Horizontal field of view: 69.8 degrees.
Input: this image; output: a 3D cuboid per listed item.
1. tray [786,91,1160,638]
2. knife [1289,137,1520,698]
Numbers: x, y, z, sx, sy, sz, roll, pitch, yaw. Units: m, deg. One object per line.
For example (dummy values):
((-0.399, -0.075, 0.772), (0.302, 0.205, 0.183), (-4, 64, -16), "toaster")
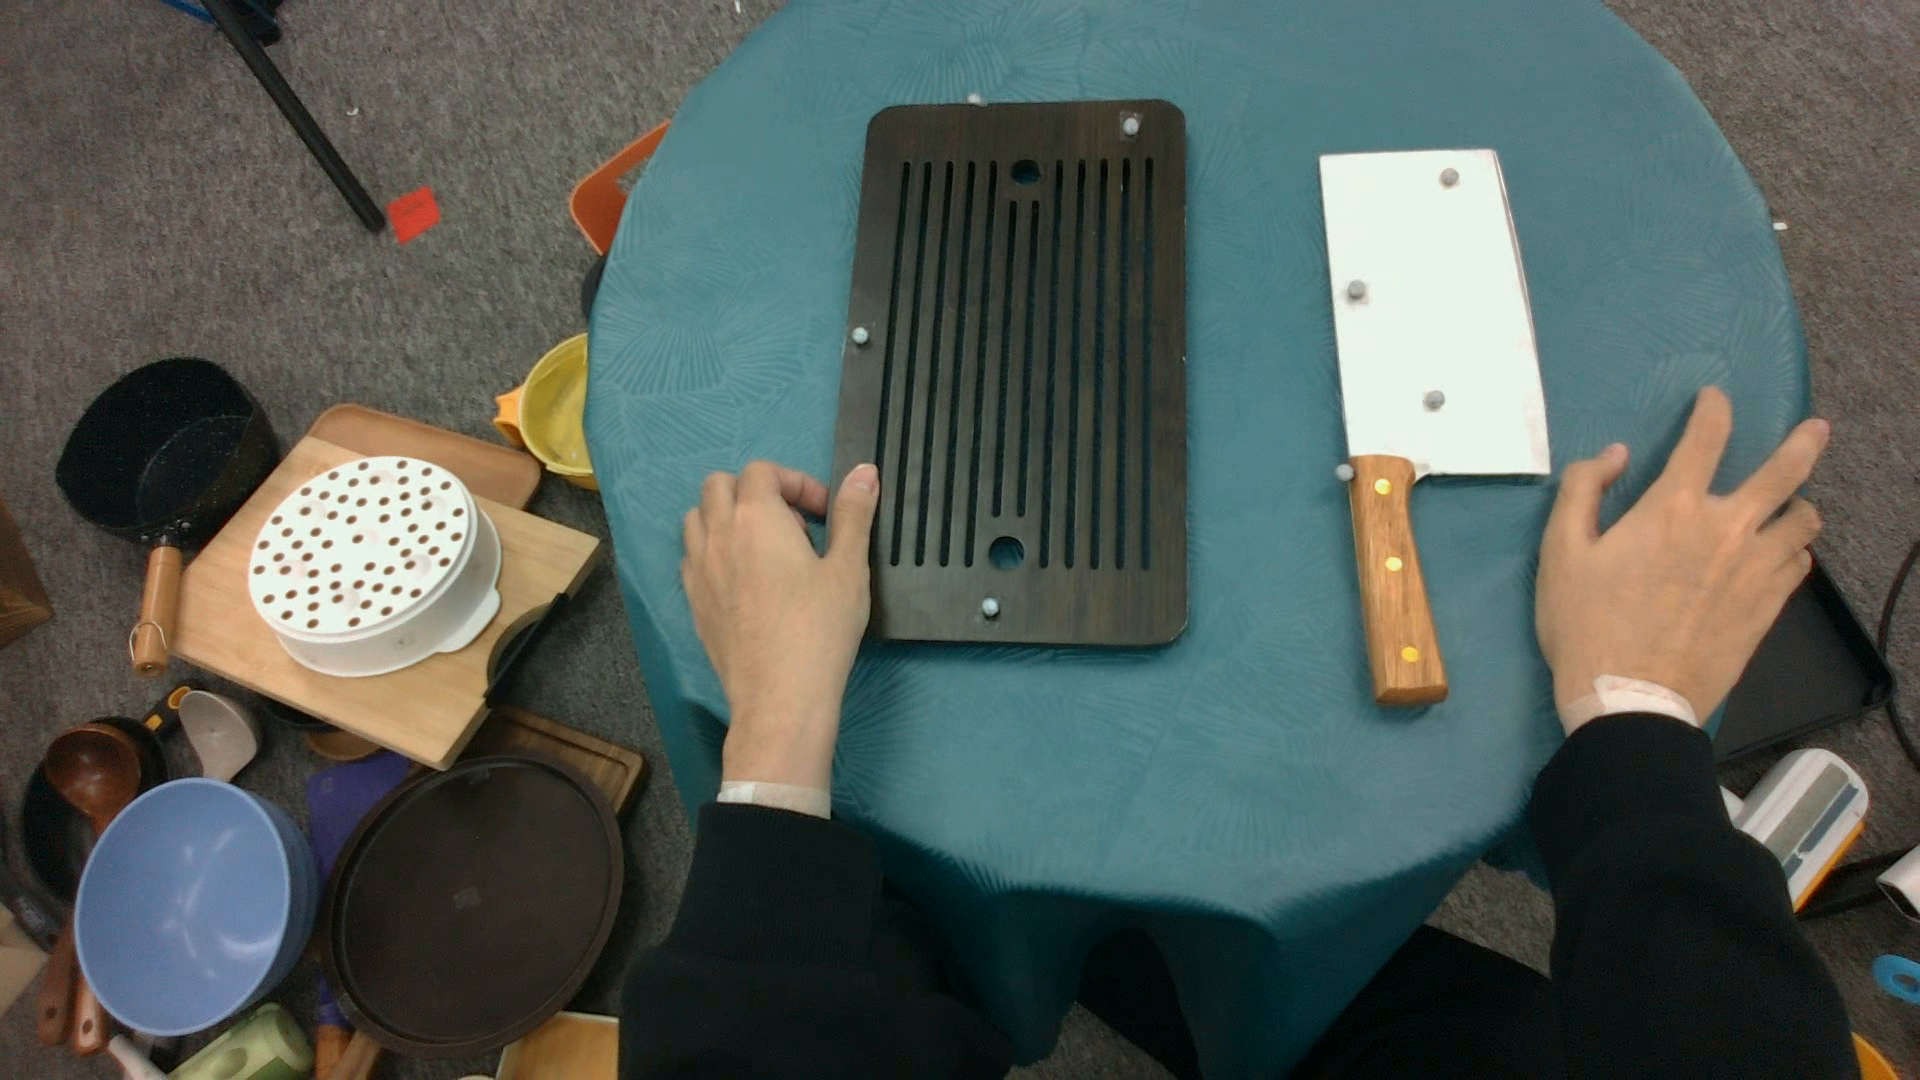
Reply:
((0.012, -0.097, 0.681), (0.170, 0.018, 0.307), (1, 67, 5), "tray")
((0.214, -0.072, 0.653), (0.093, 0.021, 0.307), (-1, 64, 3), "knife")
